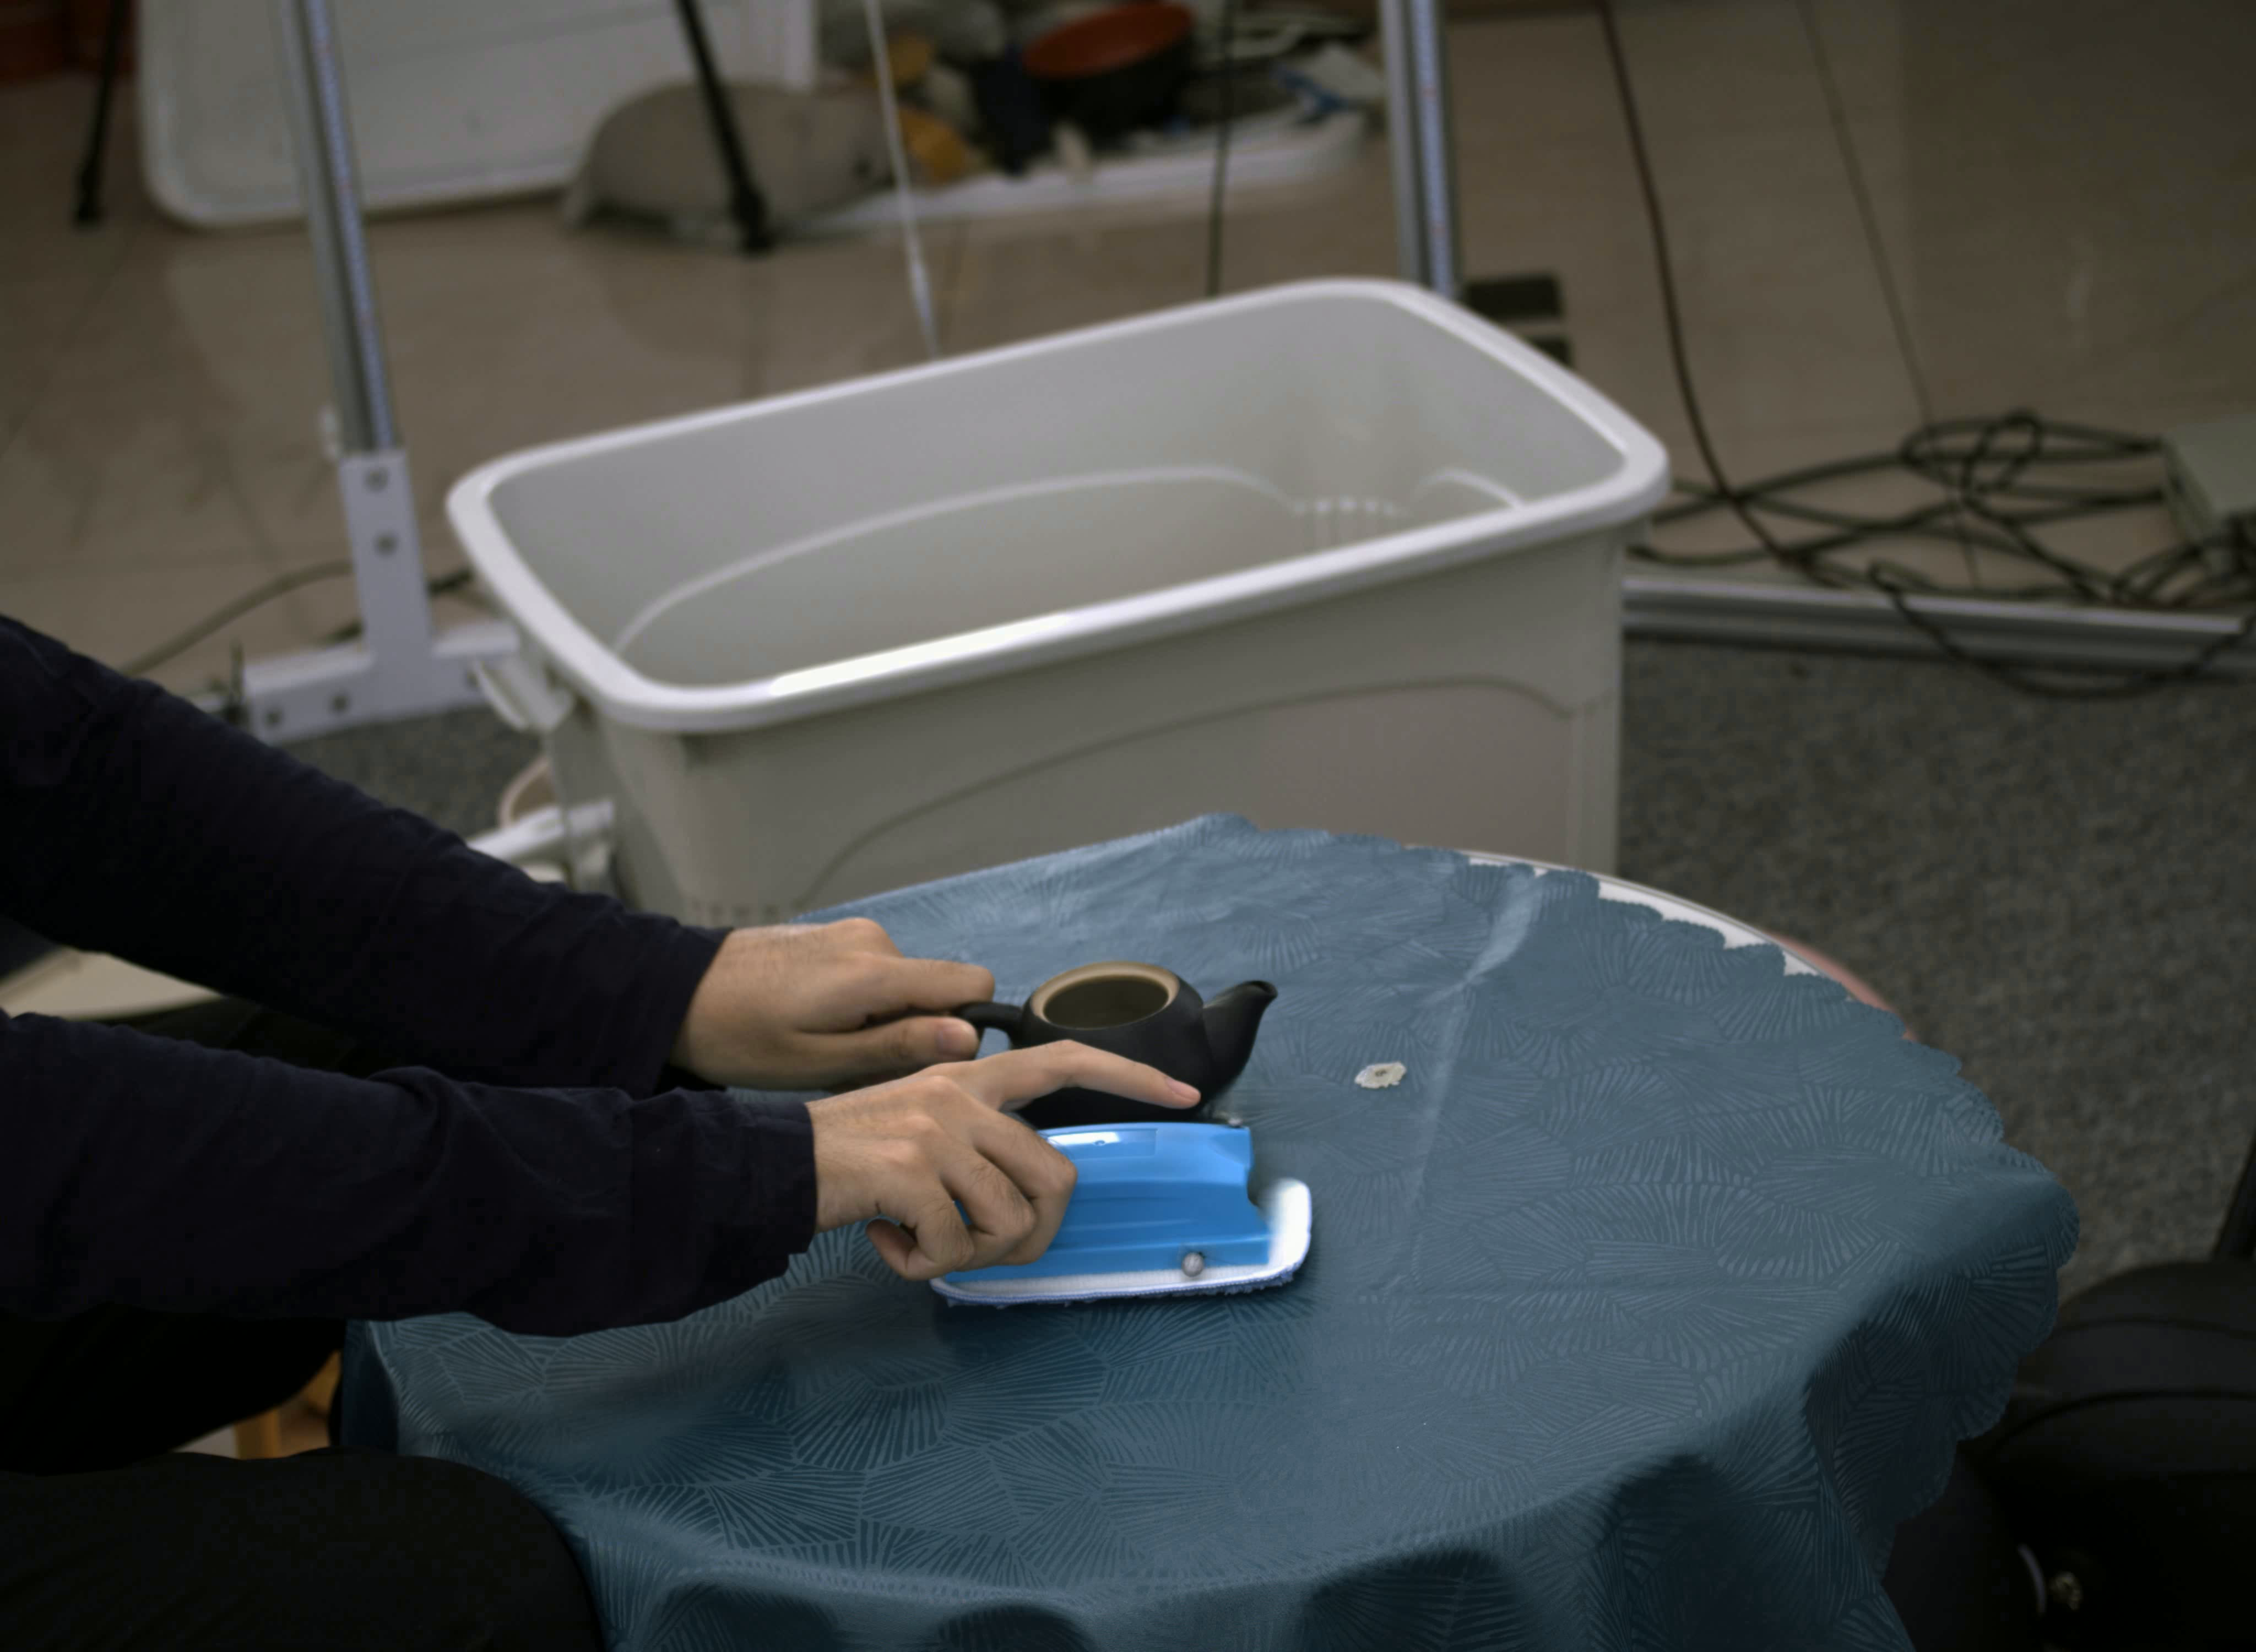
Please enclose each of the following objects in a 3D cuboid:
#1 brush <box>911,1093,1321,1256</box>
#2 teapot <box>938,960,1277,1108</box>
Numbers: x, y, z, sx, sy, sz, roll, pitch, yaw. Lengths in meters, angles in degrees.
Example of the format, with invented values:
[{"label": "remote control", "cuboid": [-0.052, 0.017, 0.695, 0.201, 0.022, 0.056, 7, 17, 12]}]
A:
[{"label": "brush", "cuboid": [-0.005, 0.126, 2.065, 0.144, 0.056, 0.083, 0, 12, -18]}, {"label": "teapot", "cuboid": [-0.007, 0.087, 2.193, 0.133, 0.054, 0.089, -4, 24, 5]}]
